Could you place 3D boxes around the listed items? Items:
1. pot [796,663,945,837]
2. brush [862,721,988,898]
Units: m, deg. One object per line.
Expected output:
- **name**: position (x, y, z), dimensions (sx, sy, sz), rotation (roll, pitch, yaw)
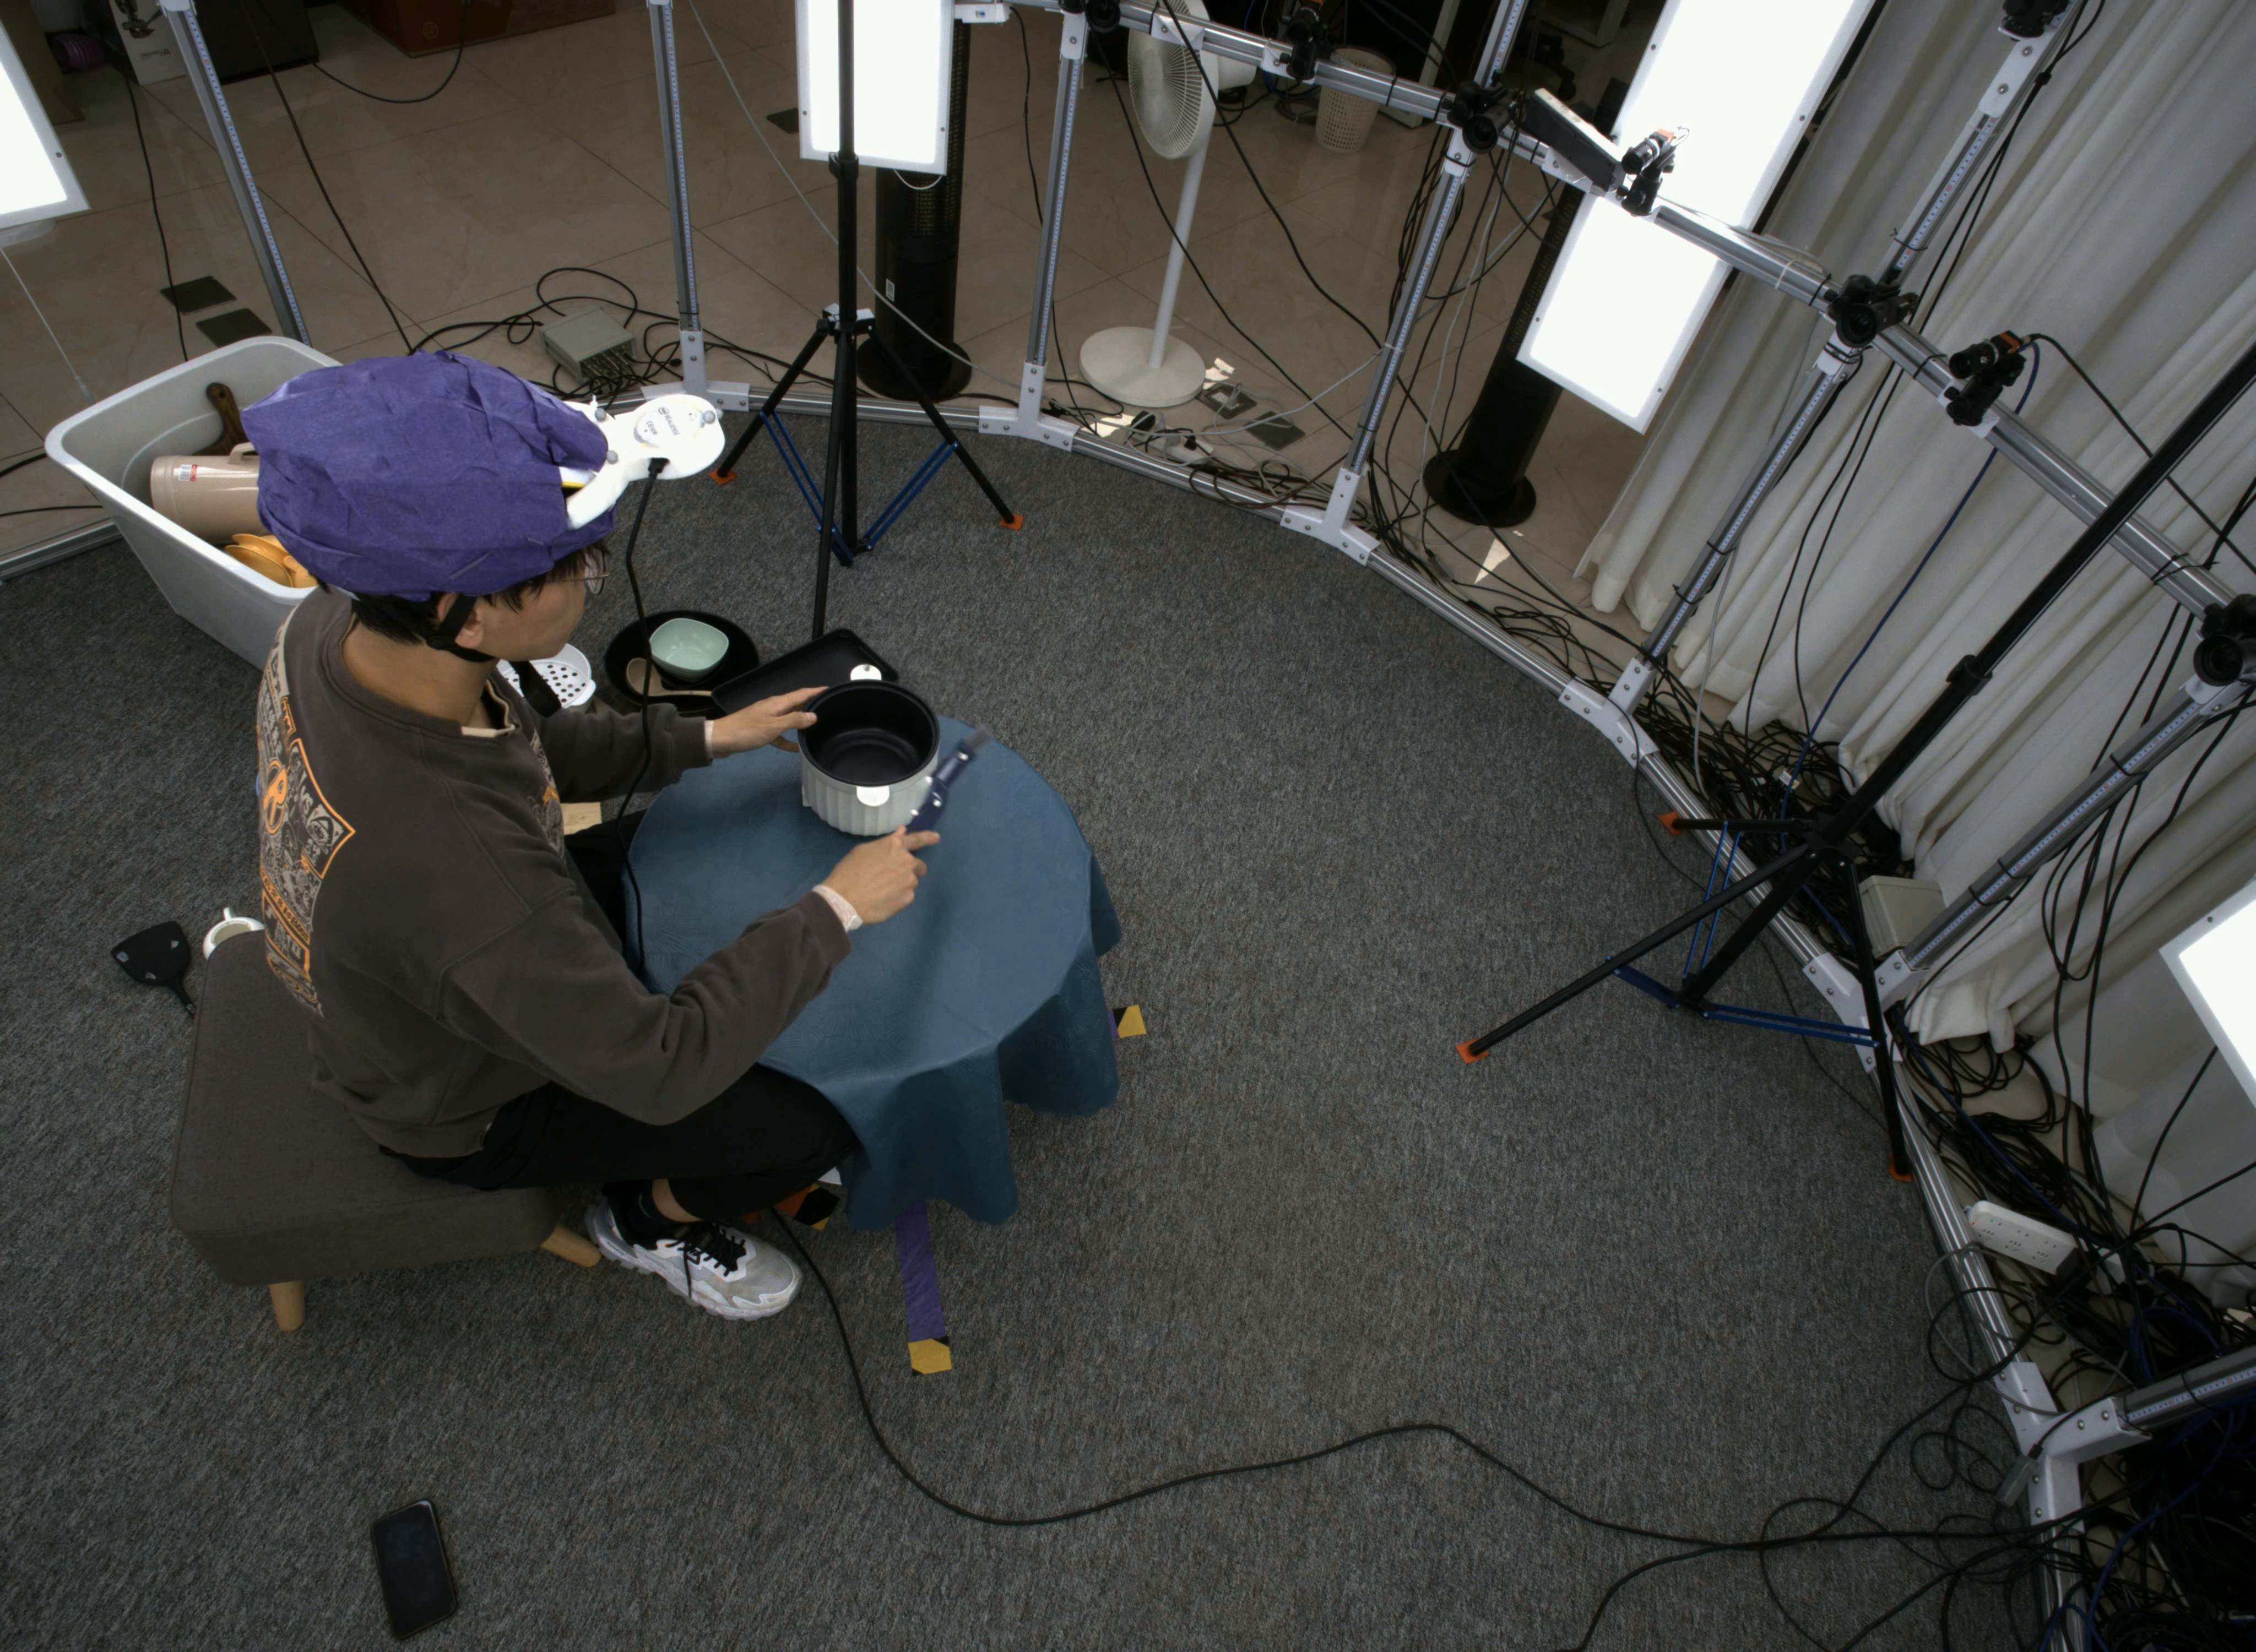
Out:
- **pot**: position (-0.340, -0.086, 1.732), dimensions (0.190, 0.146, 0.235), rotation (-5, 56, -12)
- **brush**: position (-0.243, -0.026, 1.559), dimensions (0.034, 0.094, 0.269), rotation (48, 34, -26)
